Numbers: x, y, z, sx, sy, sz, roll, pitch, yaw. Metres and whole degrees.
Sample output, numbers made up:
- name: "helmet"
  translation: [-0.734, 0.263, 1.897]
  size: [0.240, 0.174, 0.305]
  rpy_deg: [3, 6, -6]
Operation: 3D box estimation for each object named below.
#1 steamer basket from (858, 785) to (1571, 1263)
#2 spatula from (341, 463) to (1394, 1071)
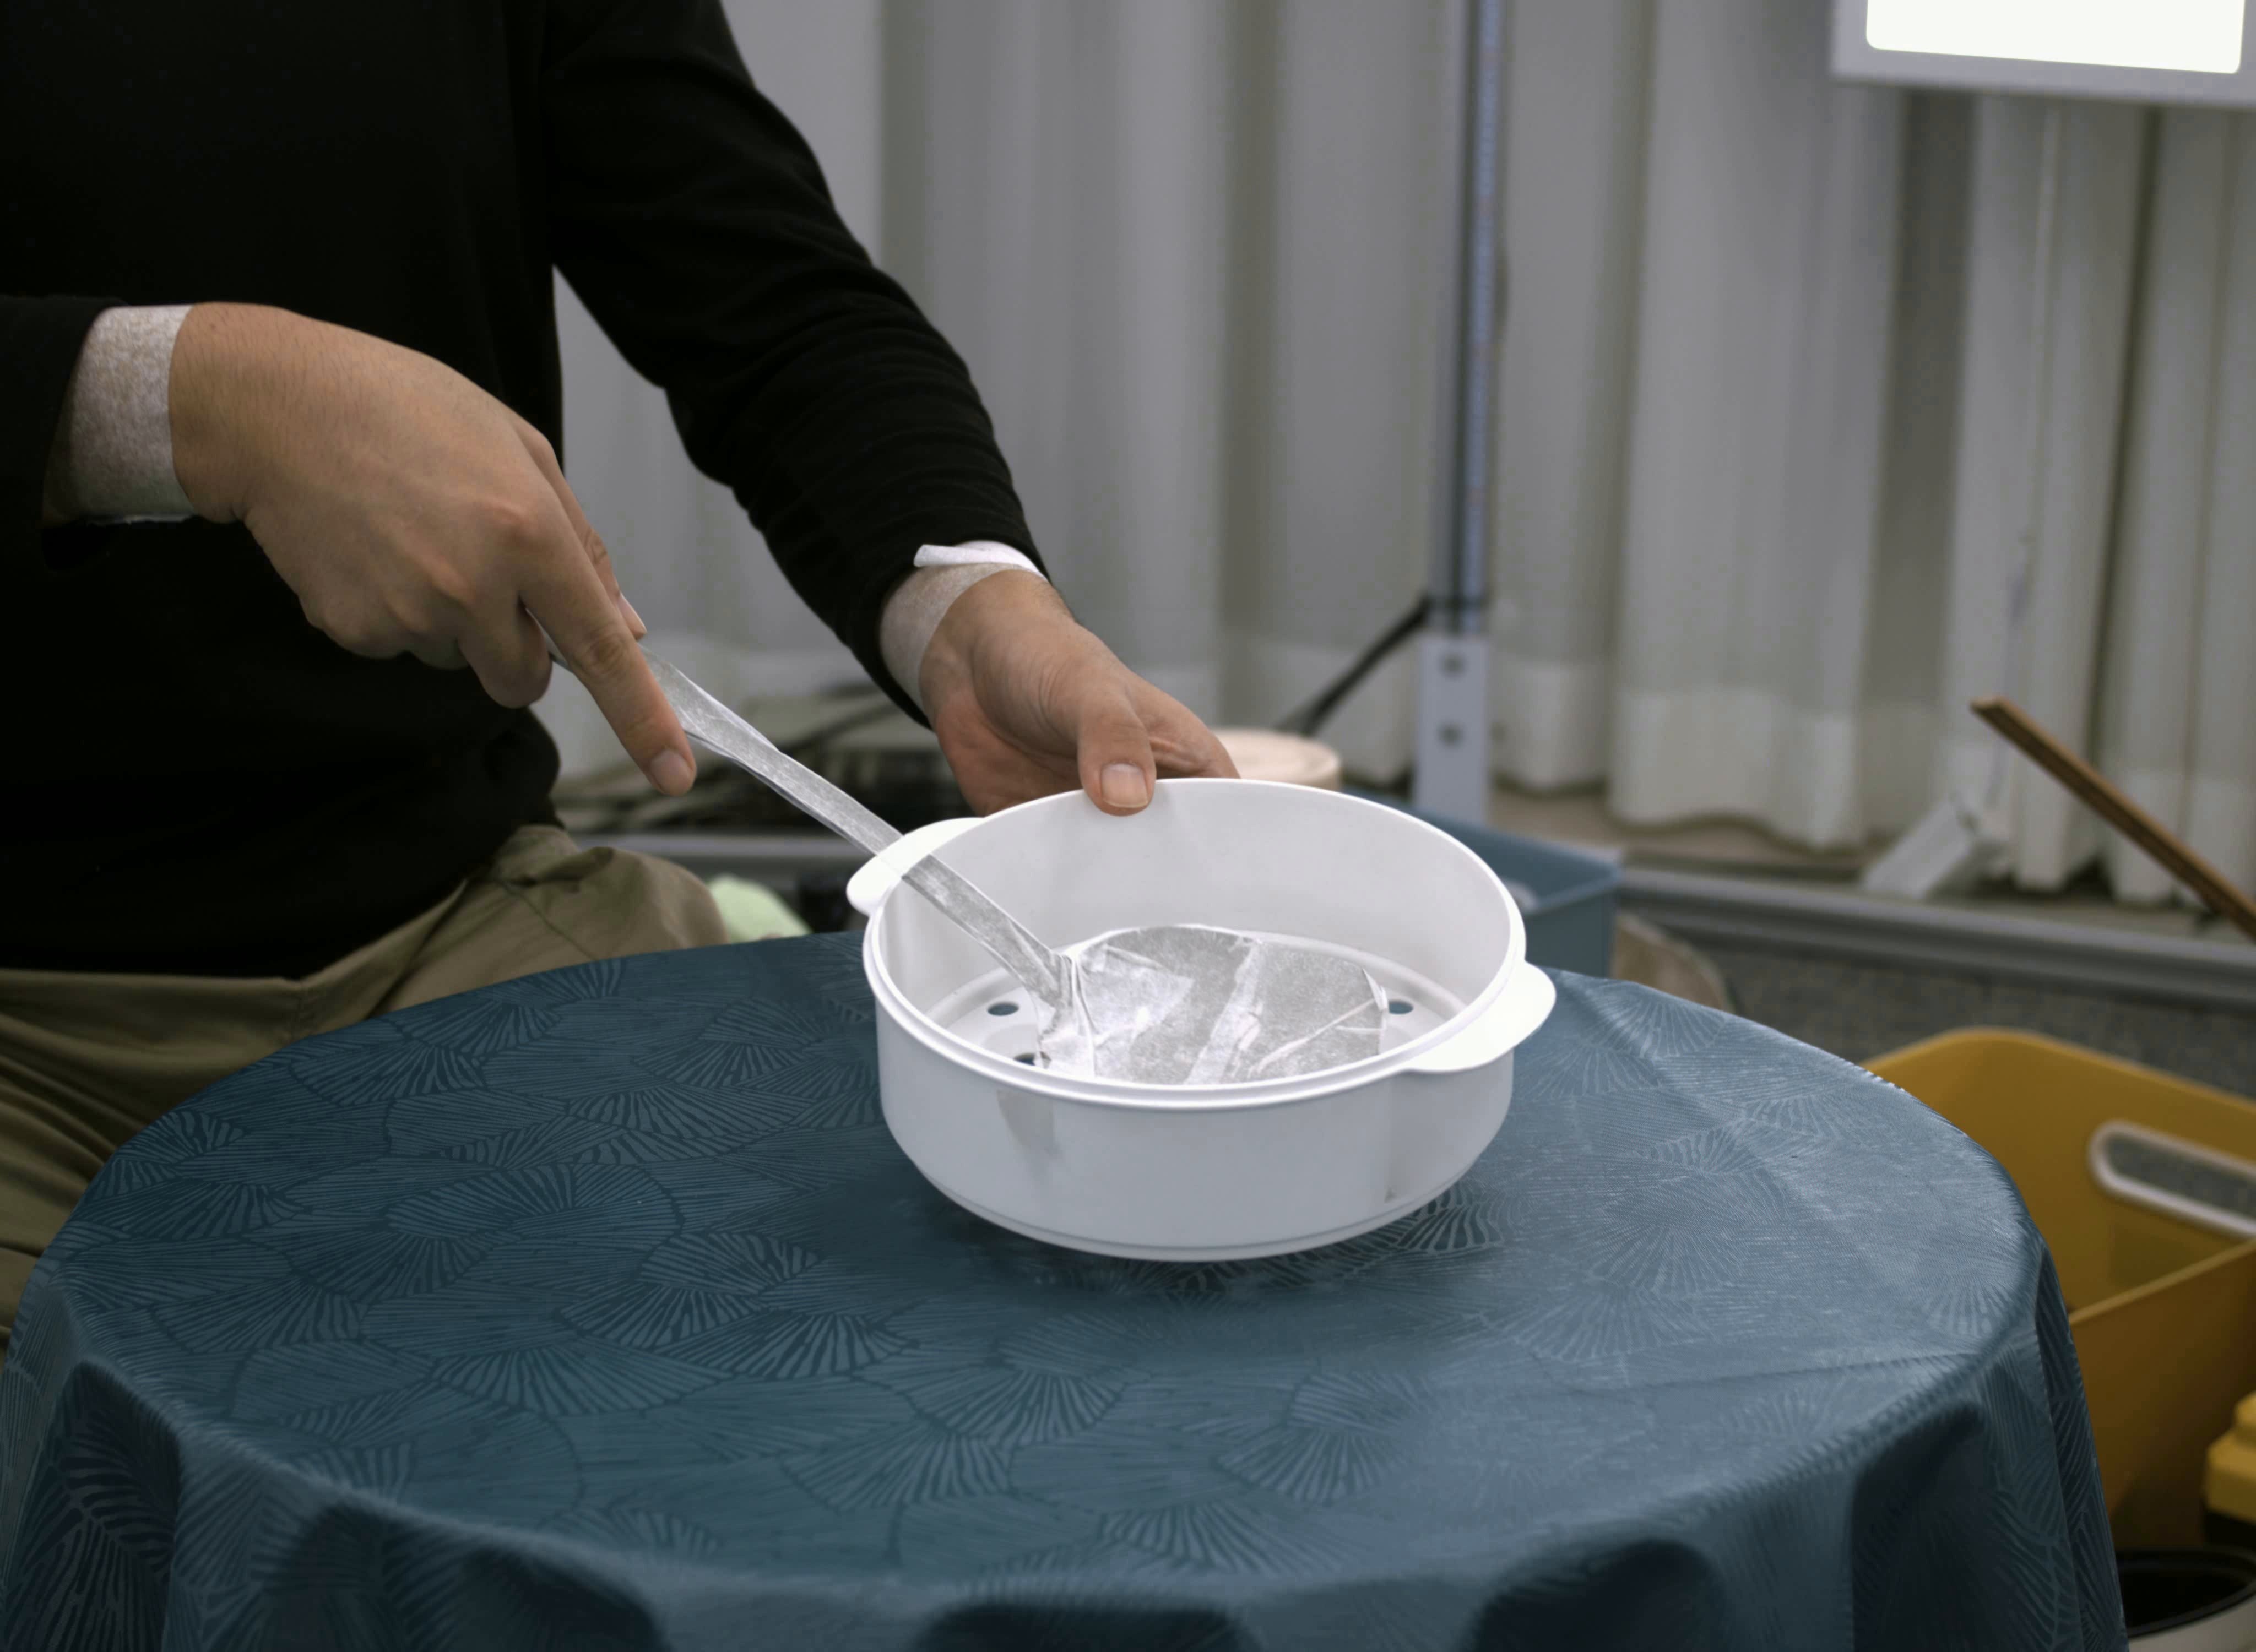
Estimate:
- name: "steamer basket"
  translation: [0.024, 0.059, 1.595]
  size: [0.228, 0.070, 0.202]
  rpy_deg: [16, 31, 28]
- name: "spatula"
  translation: [-0.086, -0.010, 1.587]
  size: [0.365, 0.045, 0.098]
  rpy_deg: [34, 54, -5]
